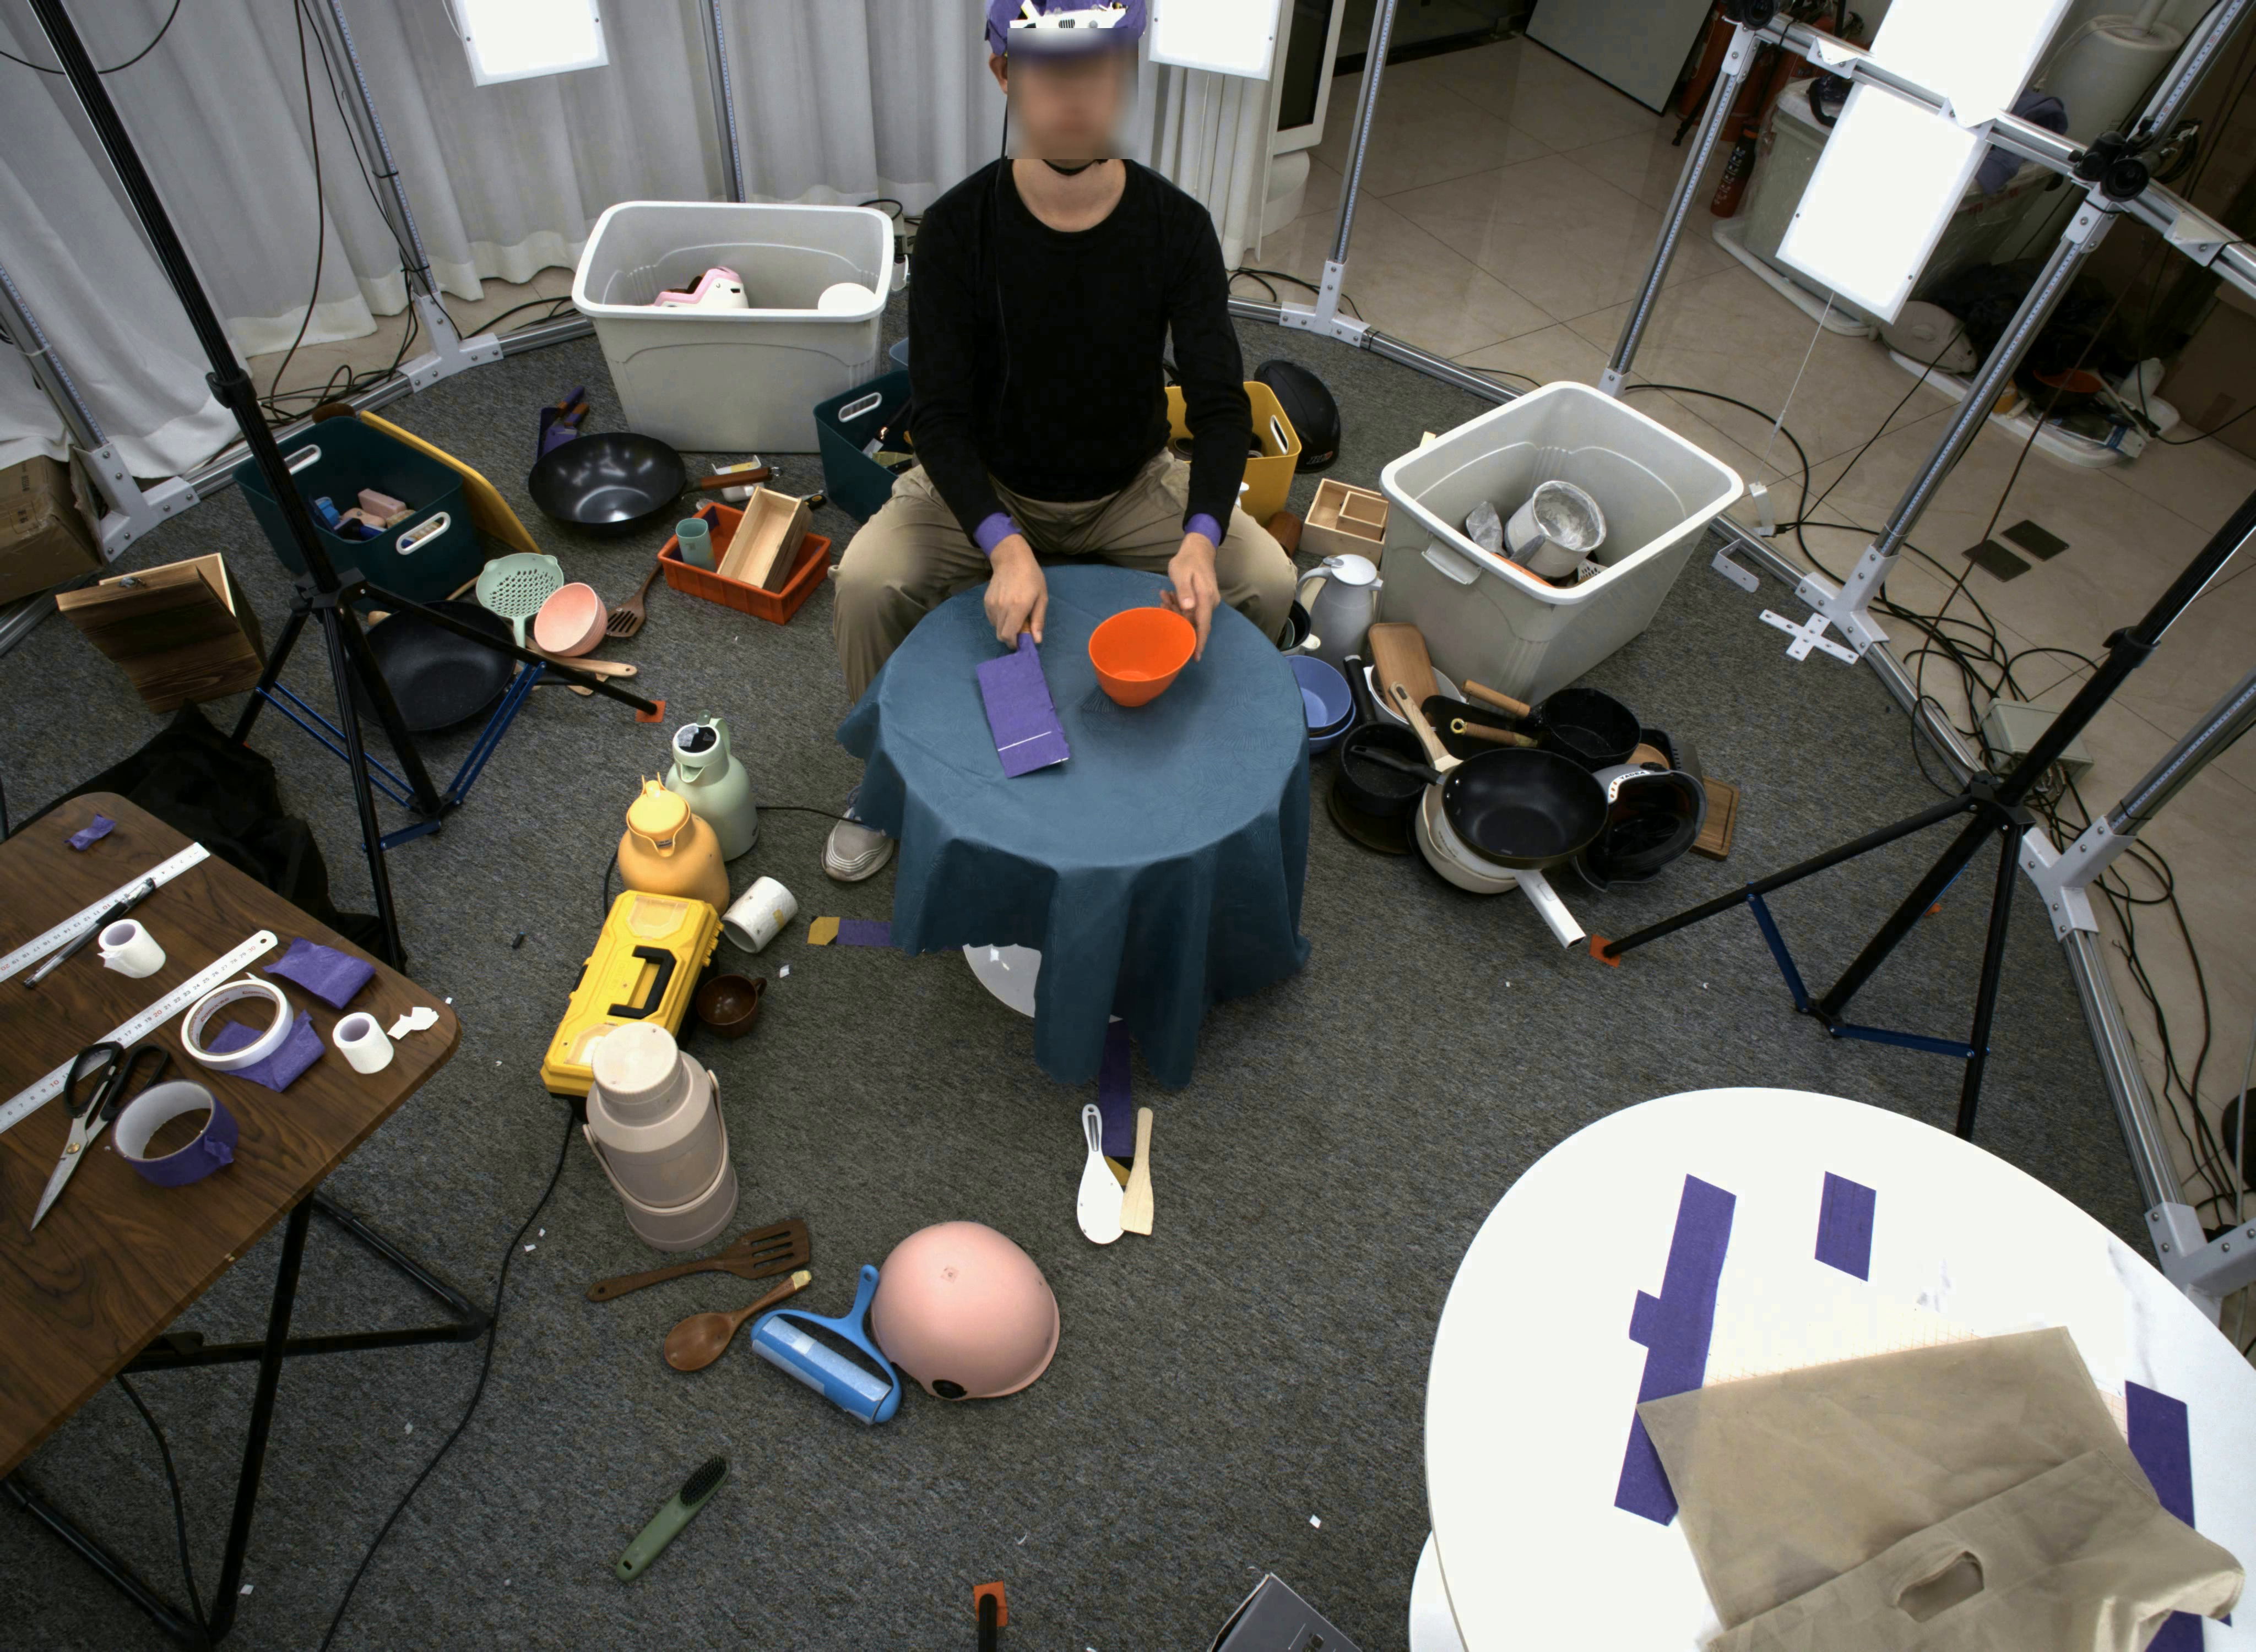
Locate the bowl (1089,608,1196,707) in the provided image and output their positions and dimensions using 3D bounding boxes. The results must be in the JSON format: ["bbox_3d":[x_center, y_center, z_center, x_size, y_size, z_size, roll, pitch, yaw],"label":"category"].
[{"bbox_3d":[0.018,-0.225,1.800,0.148,0.102,0.152,1,51,-2],"label":"bowl"}]

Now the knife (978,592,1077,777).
[{"bbox_3d":[-0.158,-0.203,1.798,0.104,0.031,0.323,-18,54,-2],"label":"knife"}]
